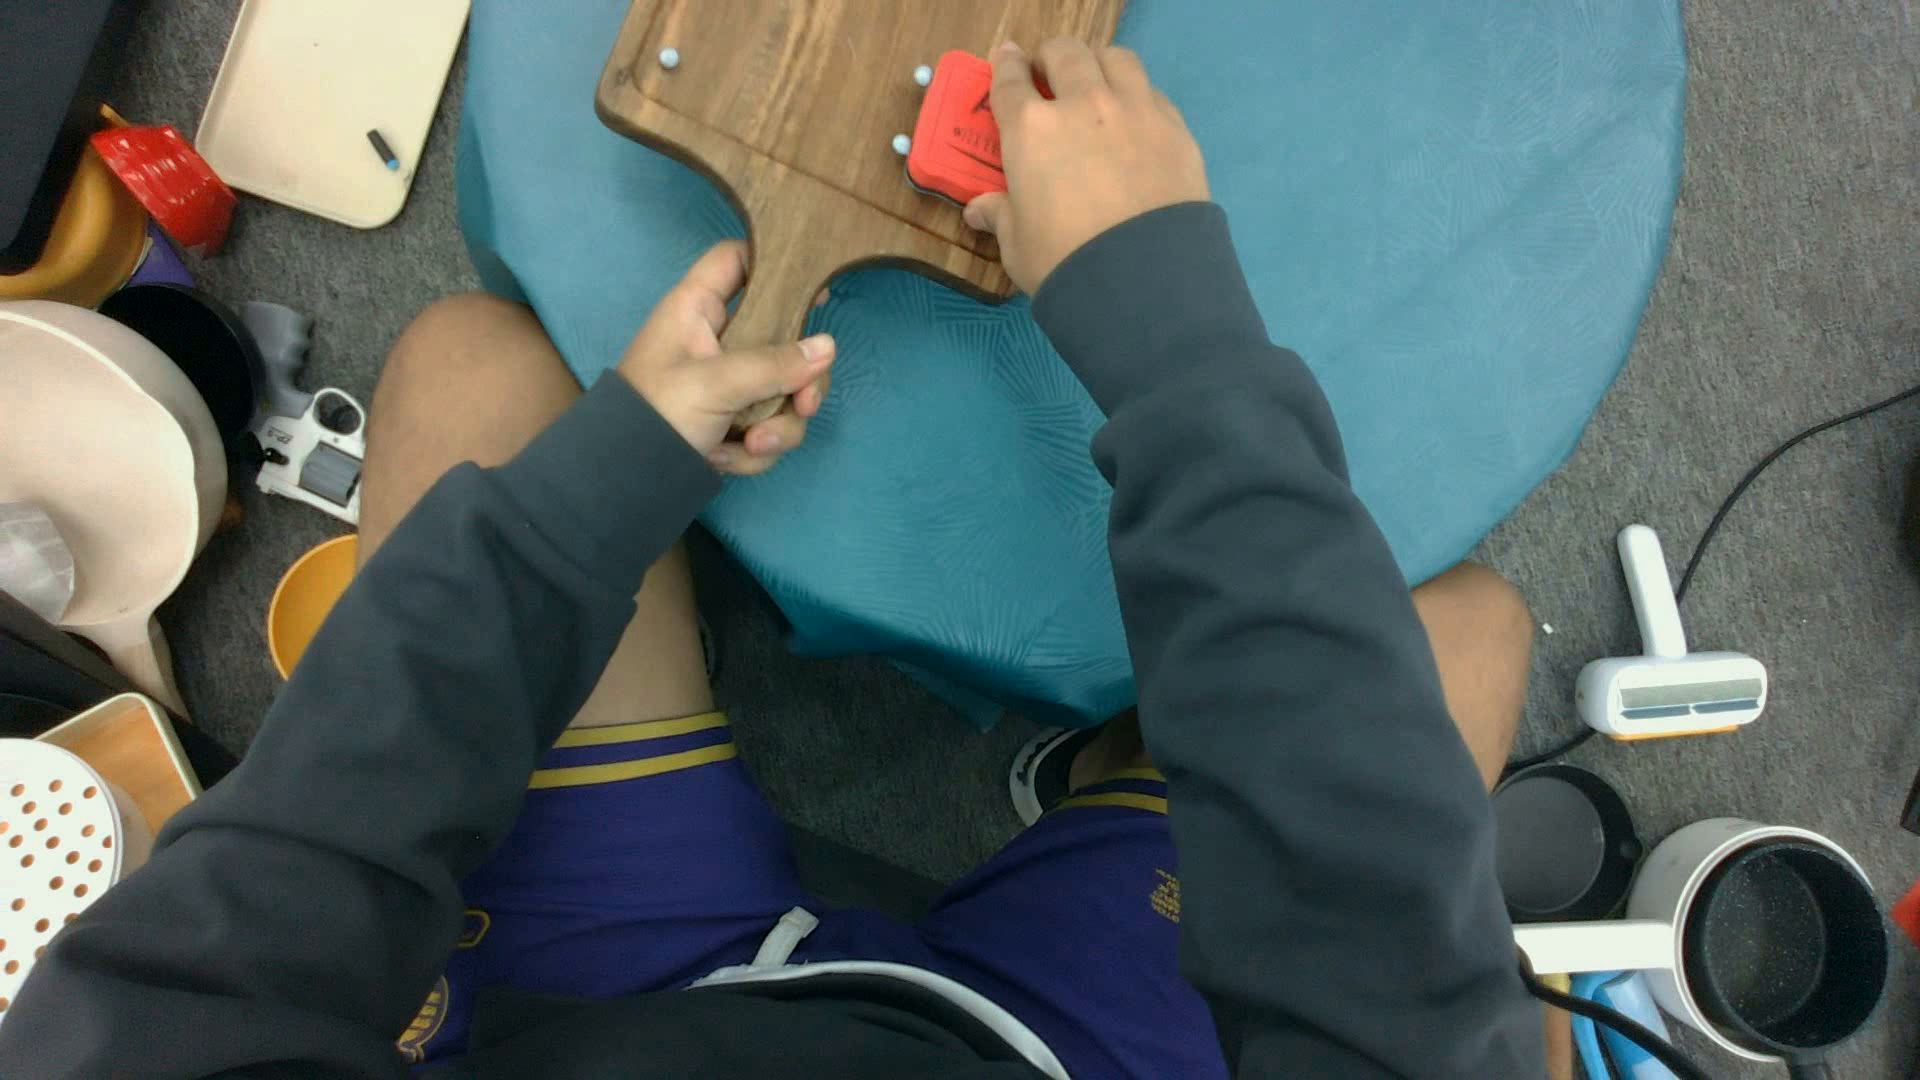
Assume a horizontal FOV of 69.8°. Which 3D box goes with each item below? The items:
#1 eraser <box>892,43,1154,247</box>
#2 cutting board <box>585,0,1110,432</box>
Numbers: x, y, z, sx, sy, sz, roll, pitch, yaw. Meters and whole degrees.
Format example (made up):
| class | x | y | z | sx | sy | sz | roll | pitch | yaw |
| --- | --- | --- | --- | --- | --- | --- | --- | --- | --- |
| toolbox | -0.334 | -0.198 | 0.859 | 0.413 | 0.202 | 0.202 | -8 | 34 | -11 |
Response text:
| class | x | y | z | sx | sy | sz | roll | pitch | yaw |
| --- | --- | --- | --- | --- | --- | --- | --- | --- | --- |
| eraser | 0.028 | -0.171 | 0.600 | 0.108 | 0.023 | 0.059 | 17 | 82 | -13 |
| cutting board | -0.045 | -0.213 | 0.604 | 0.201 | 0.023 | 0.353 | 21 | 80 | -15 |
